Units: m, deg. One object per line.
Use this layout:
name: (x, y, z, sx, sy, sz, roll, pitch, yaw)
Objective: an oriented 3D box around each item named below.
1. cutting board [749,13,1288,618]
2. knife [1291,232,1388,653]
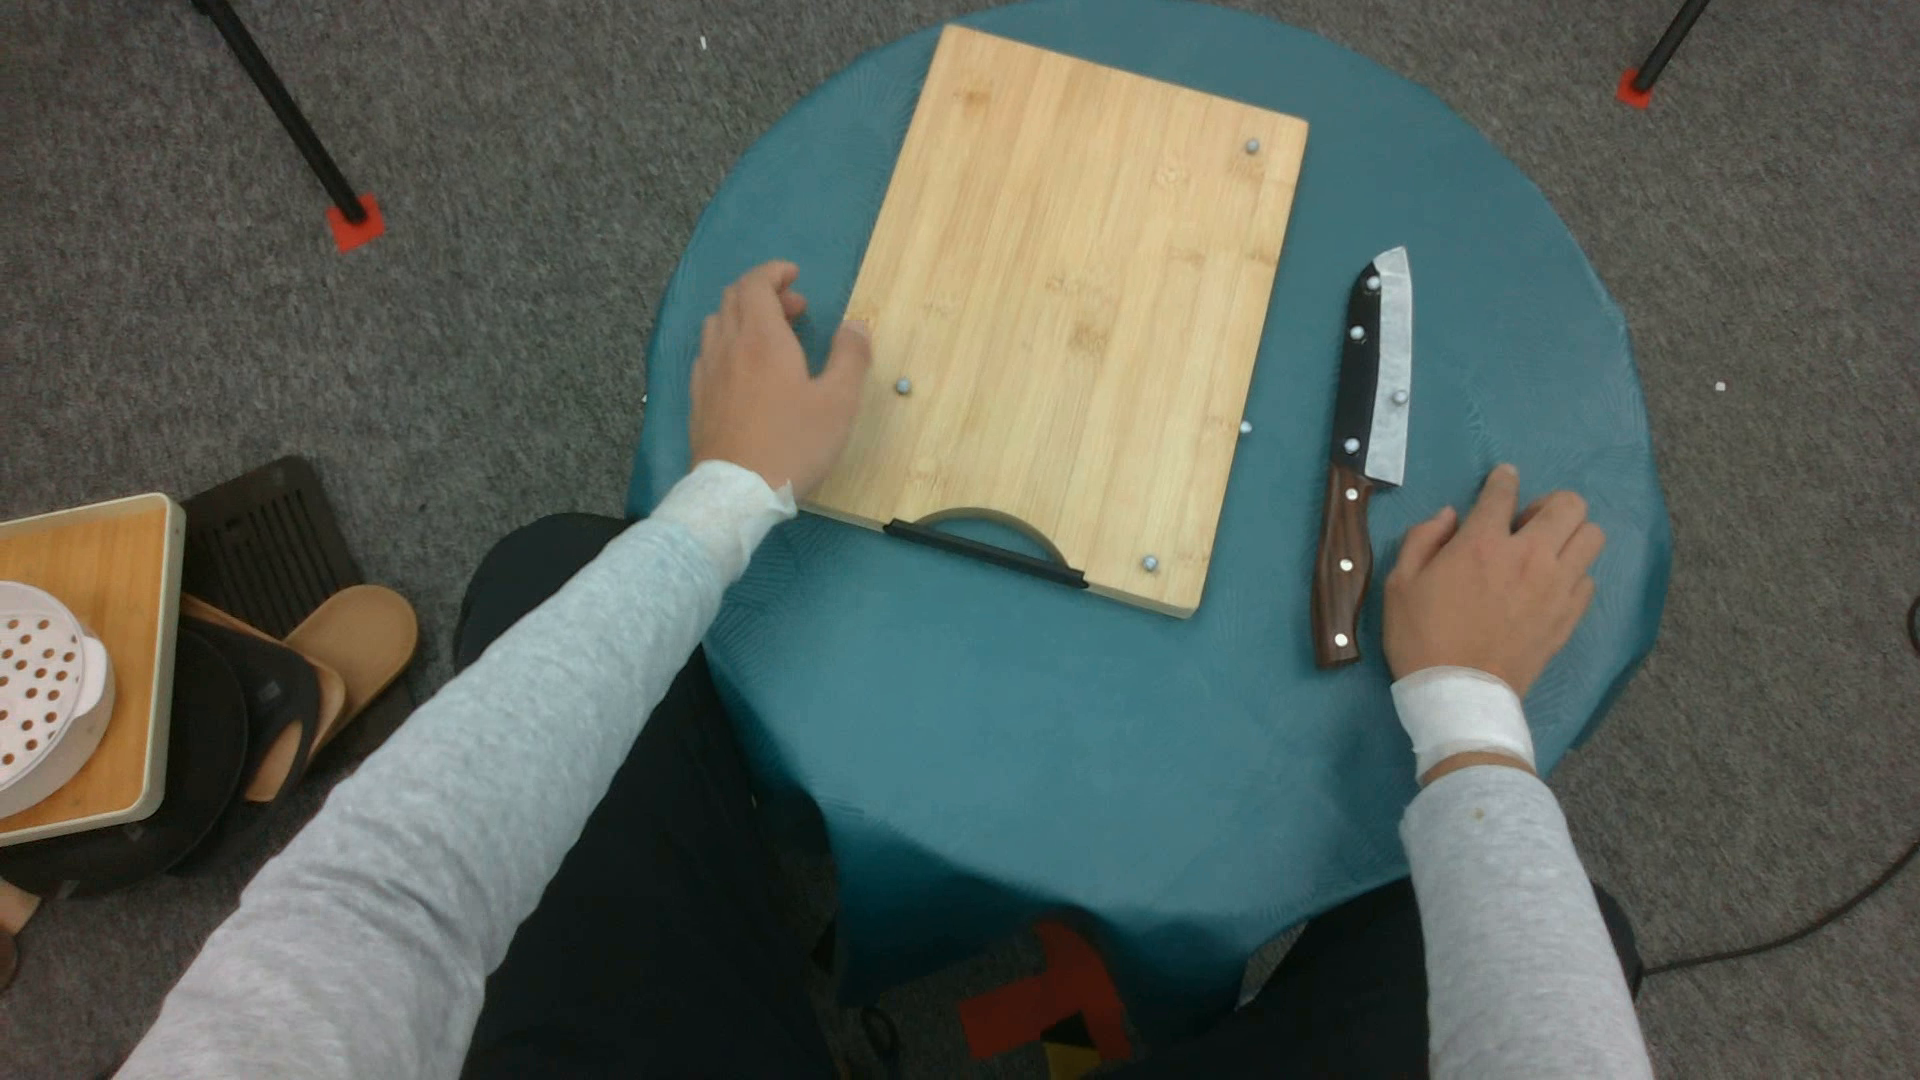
cutting board: (0.046, -0.145, 0.824, 0.251, 0.023, 0.350, 15, 69, 1)
knife: (0.226, -0.066, 0.811, 0.050, 0.020, 0.290, 16, 67, -4)
